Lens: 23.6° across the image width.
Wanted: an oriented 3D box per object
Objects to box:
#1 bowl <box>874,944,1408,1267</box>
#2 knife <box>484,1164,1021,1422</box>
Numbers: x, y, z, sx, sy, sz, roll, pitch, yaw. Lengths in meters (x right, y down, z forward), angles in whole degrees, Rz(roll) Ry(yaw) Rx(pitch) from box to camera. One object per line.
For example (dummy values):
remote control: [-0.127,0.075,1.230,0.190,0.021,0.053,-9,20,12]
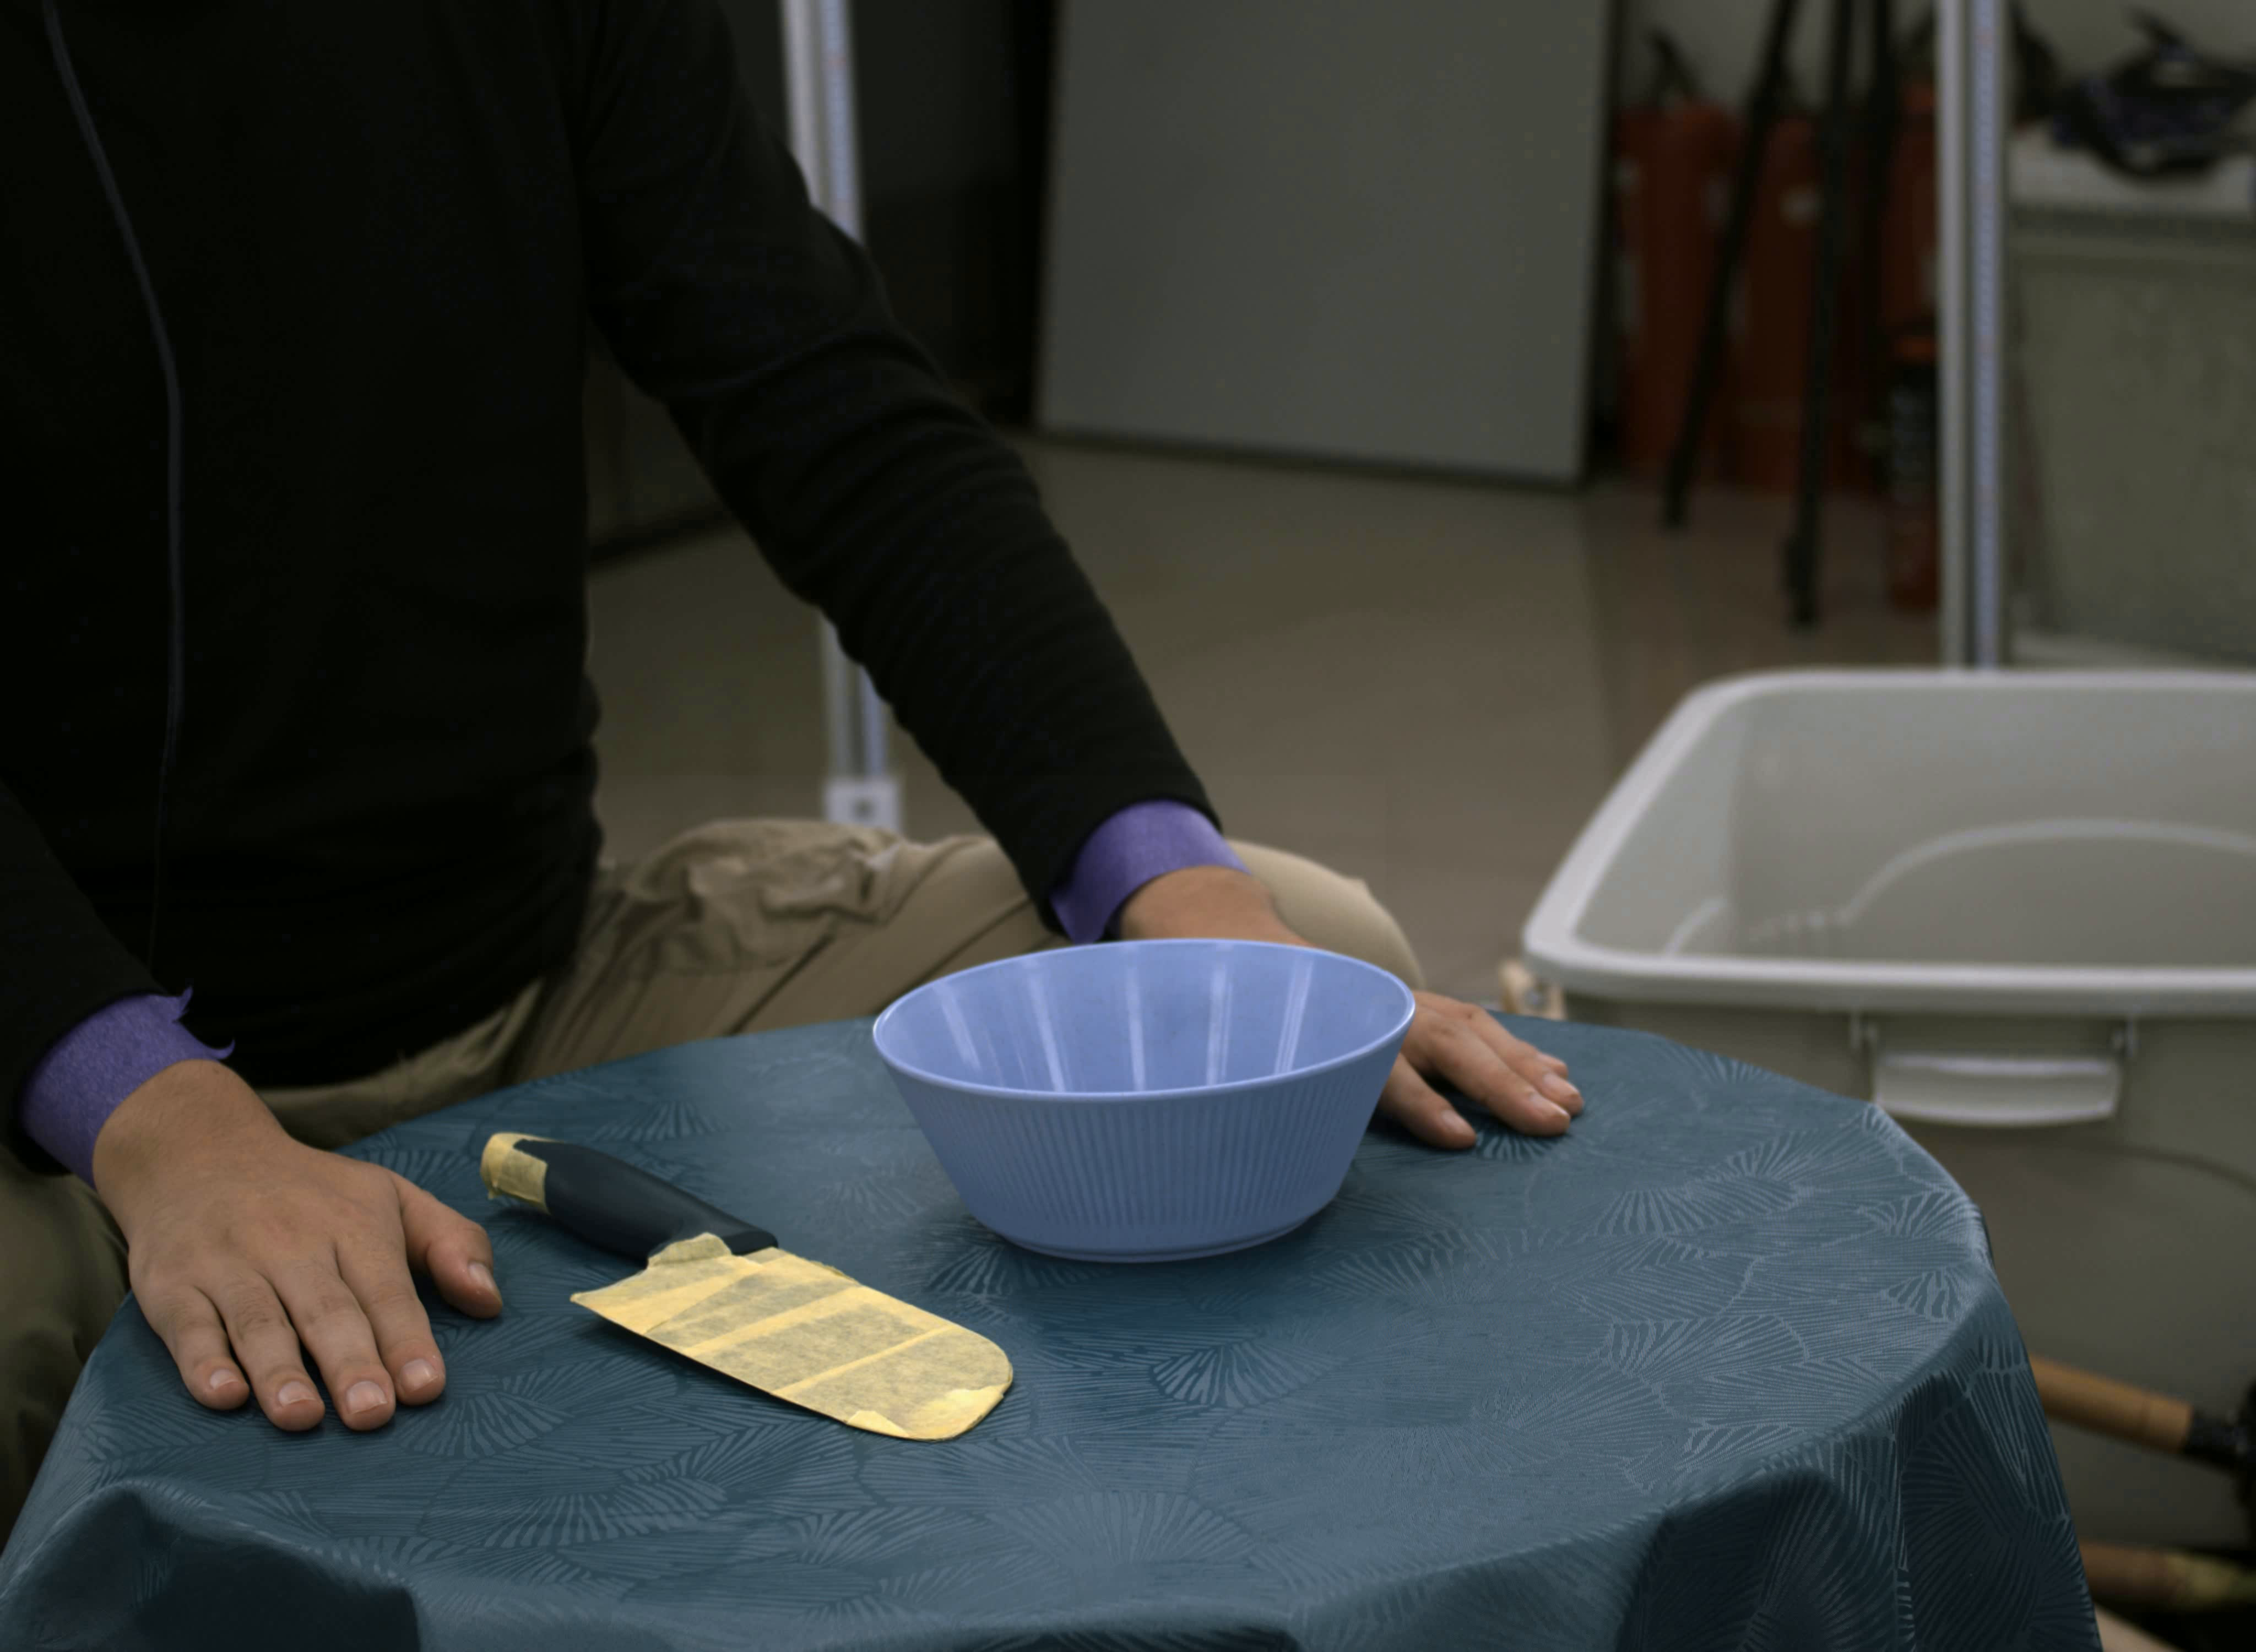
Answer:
bowl: [0.006,0.093,1.745,0.174,0.071,0.176,-5,14,0]
knife: [-0.128,0.147,1.682,0.079,0.027,0.292,-12,17,-35]
